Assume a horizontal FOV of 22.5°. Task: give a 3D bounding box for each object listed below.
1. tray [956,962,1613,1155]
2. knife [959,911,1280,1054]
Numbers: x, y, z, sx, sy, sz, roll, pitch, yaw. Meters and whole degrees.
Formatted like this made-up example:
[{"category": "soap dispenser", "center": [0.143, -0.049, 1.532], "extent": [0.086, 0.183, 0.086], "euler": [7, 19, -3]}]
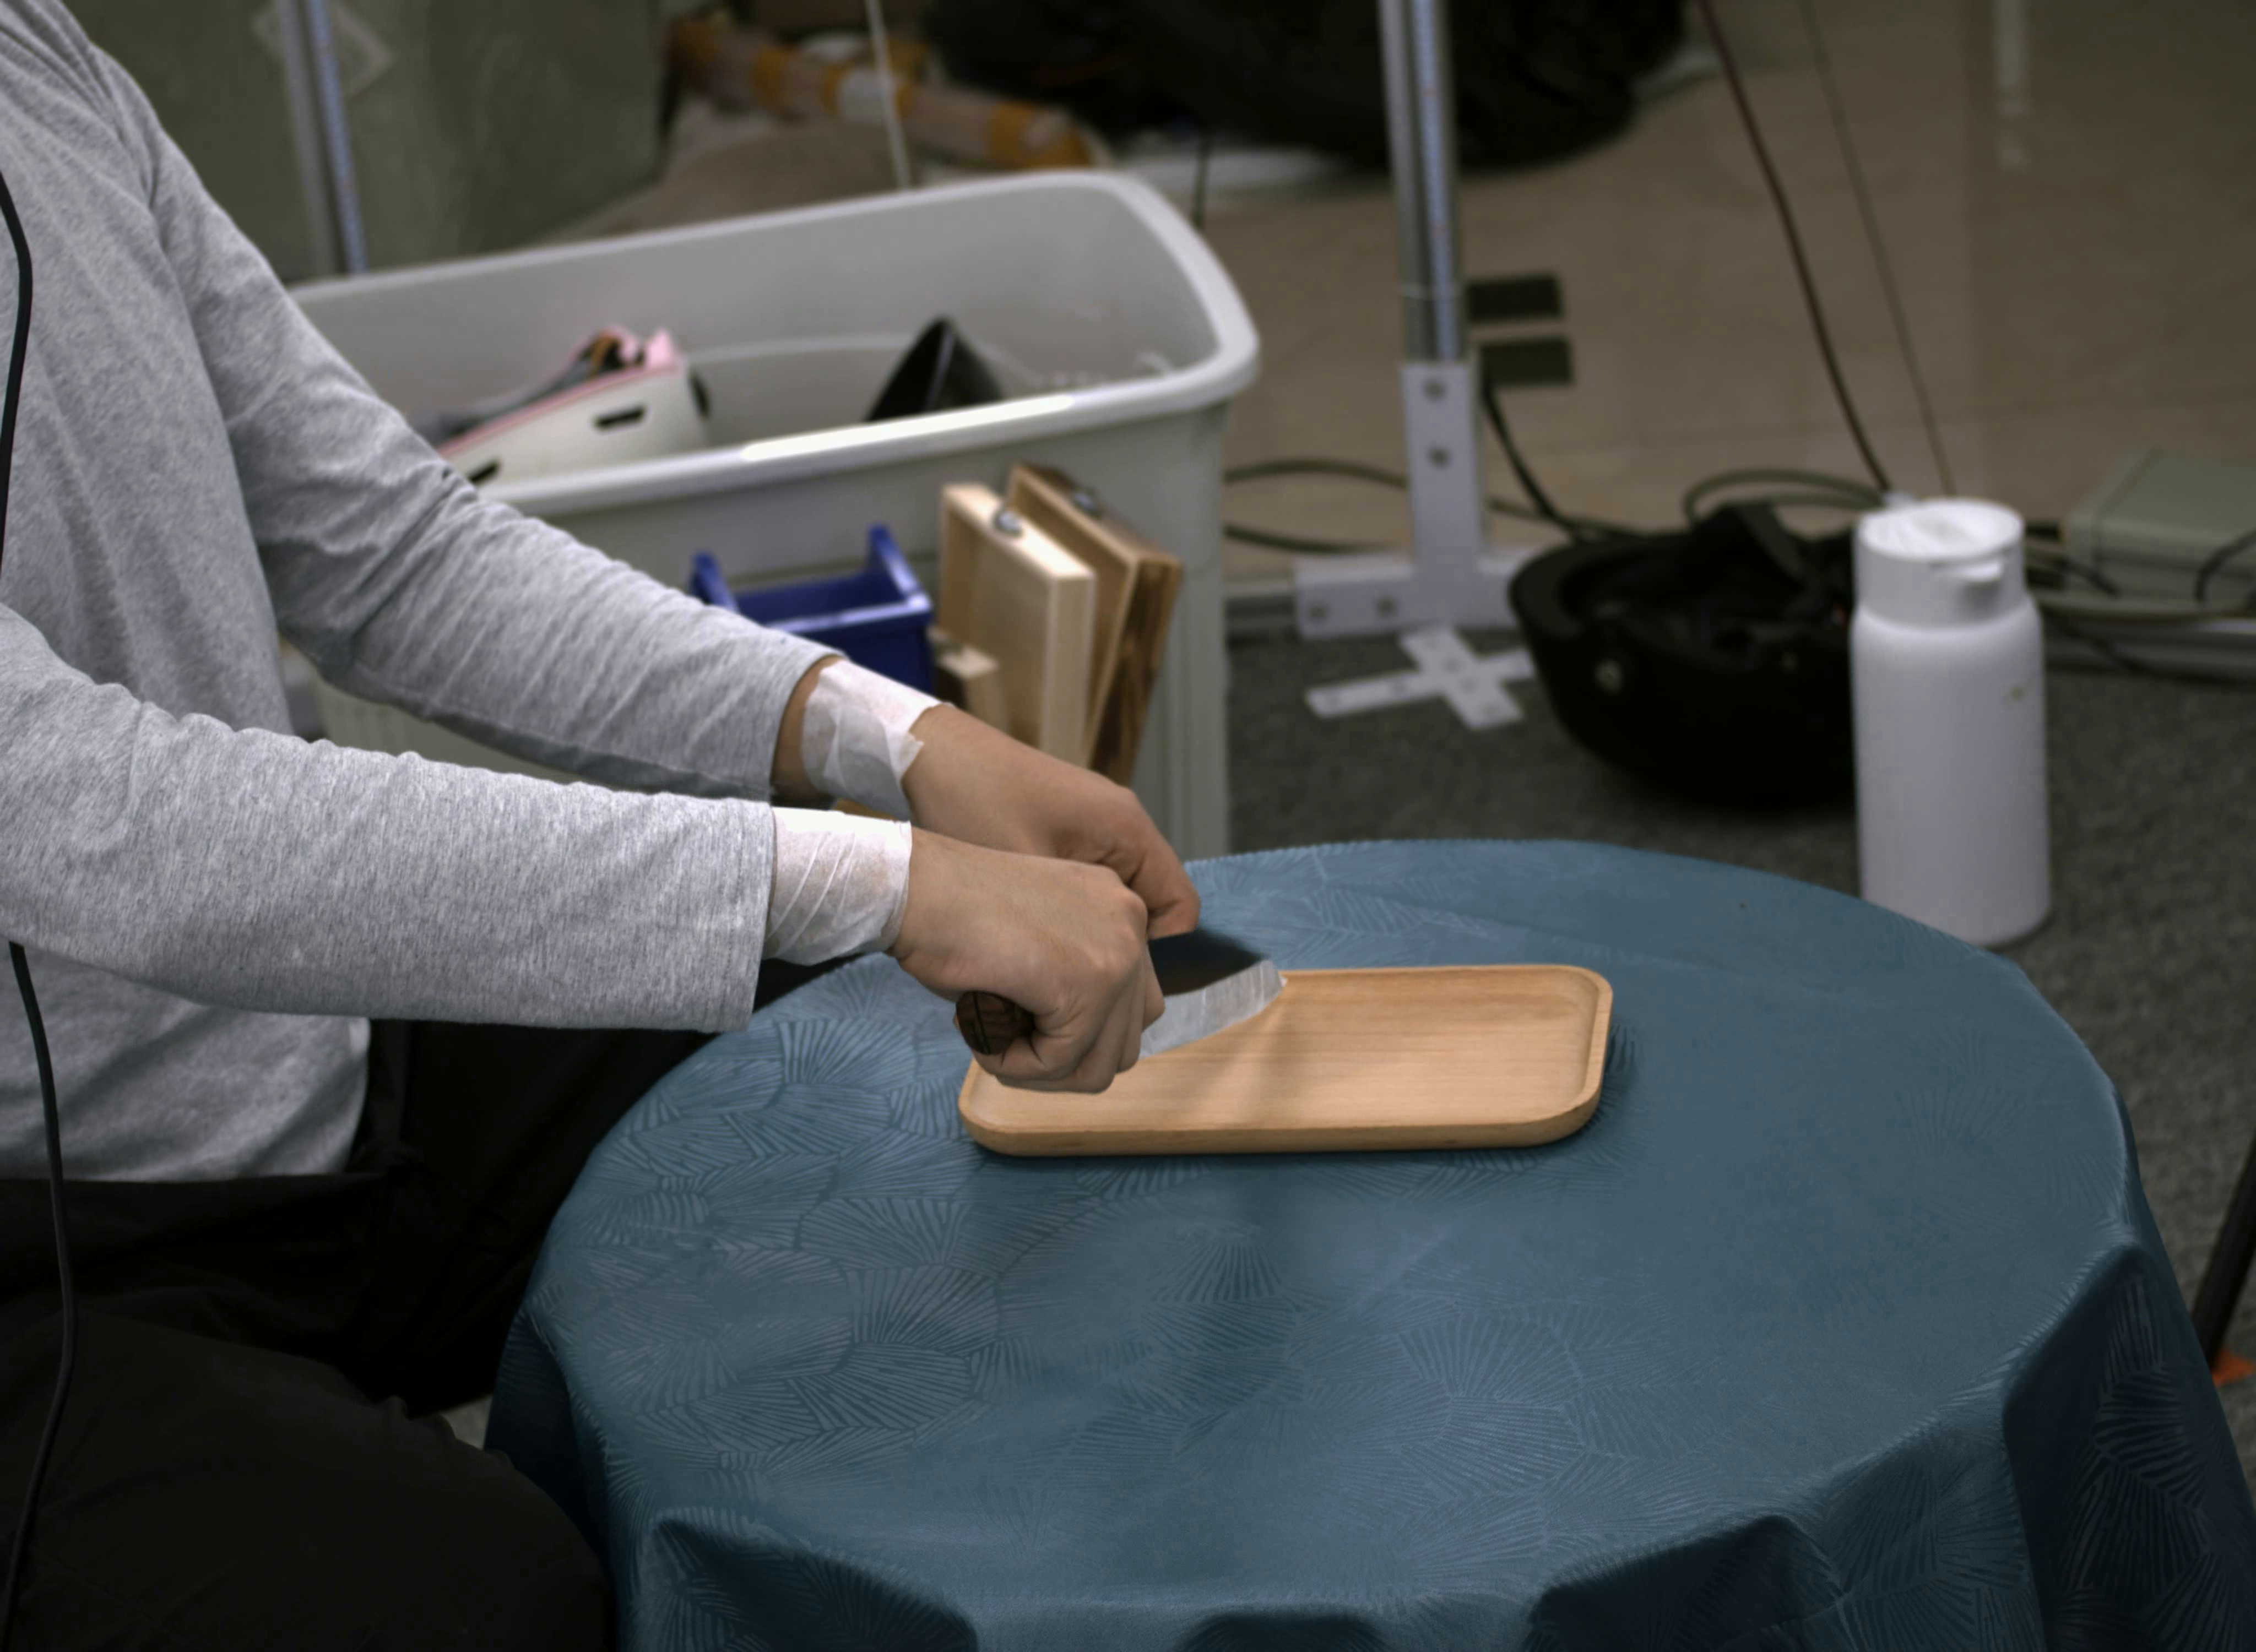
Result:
[{"category": "tray", "center": [0.062, 0.092, 2.215], "extent": [0.250, 0.023, 0.128], "euler": [-2, 25, 12]}, {"category": "knife", "center": [0.004, 0.060, 2.122], "extent": [0.020, 0.050, 0.289], "euler": [2, 2, 23]}]
